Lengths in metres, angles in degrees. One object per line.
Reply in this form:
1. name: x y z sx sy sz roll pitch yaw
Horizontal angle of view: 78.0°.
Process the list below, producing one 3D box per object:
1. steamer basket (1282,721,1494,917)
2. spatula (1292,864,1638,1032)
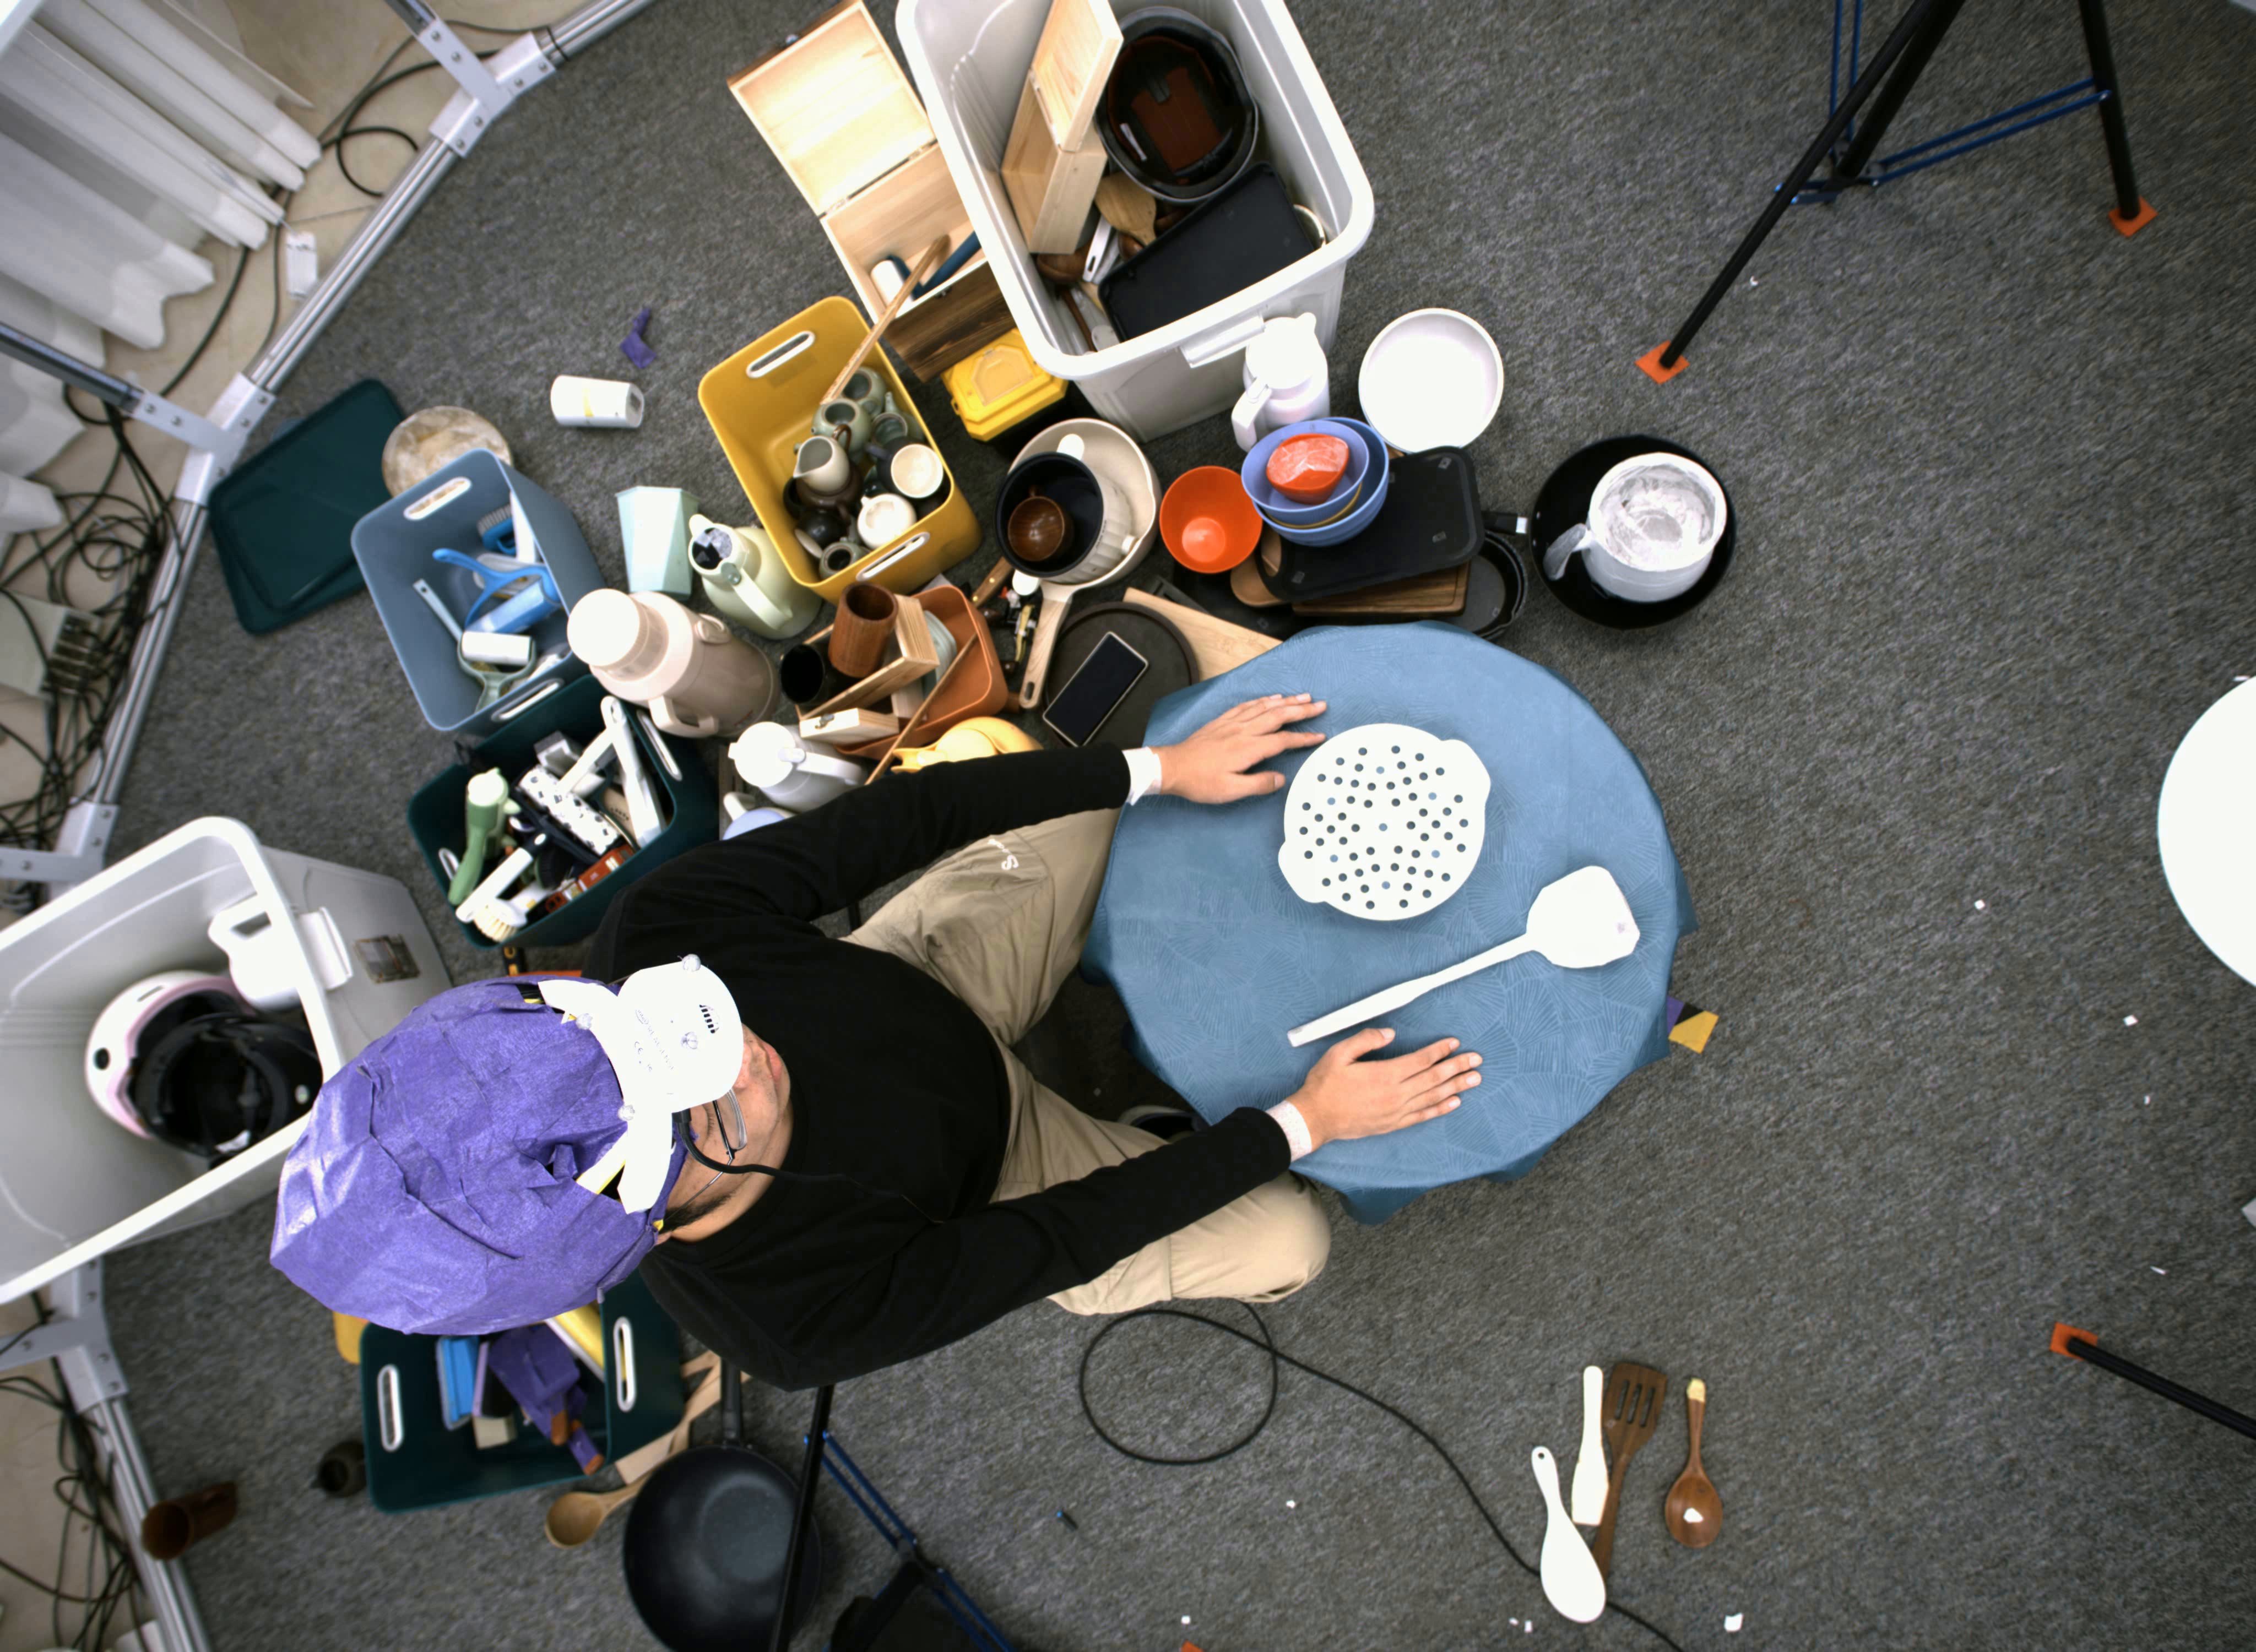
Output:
1. steamer basket: 0.269 -0.006 1.429 0.232 0.069 0.200 -32 81 8
2. spatula: 0.341 0.144 1.424 0.367 0.045 0.098 -23 85 8
